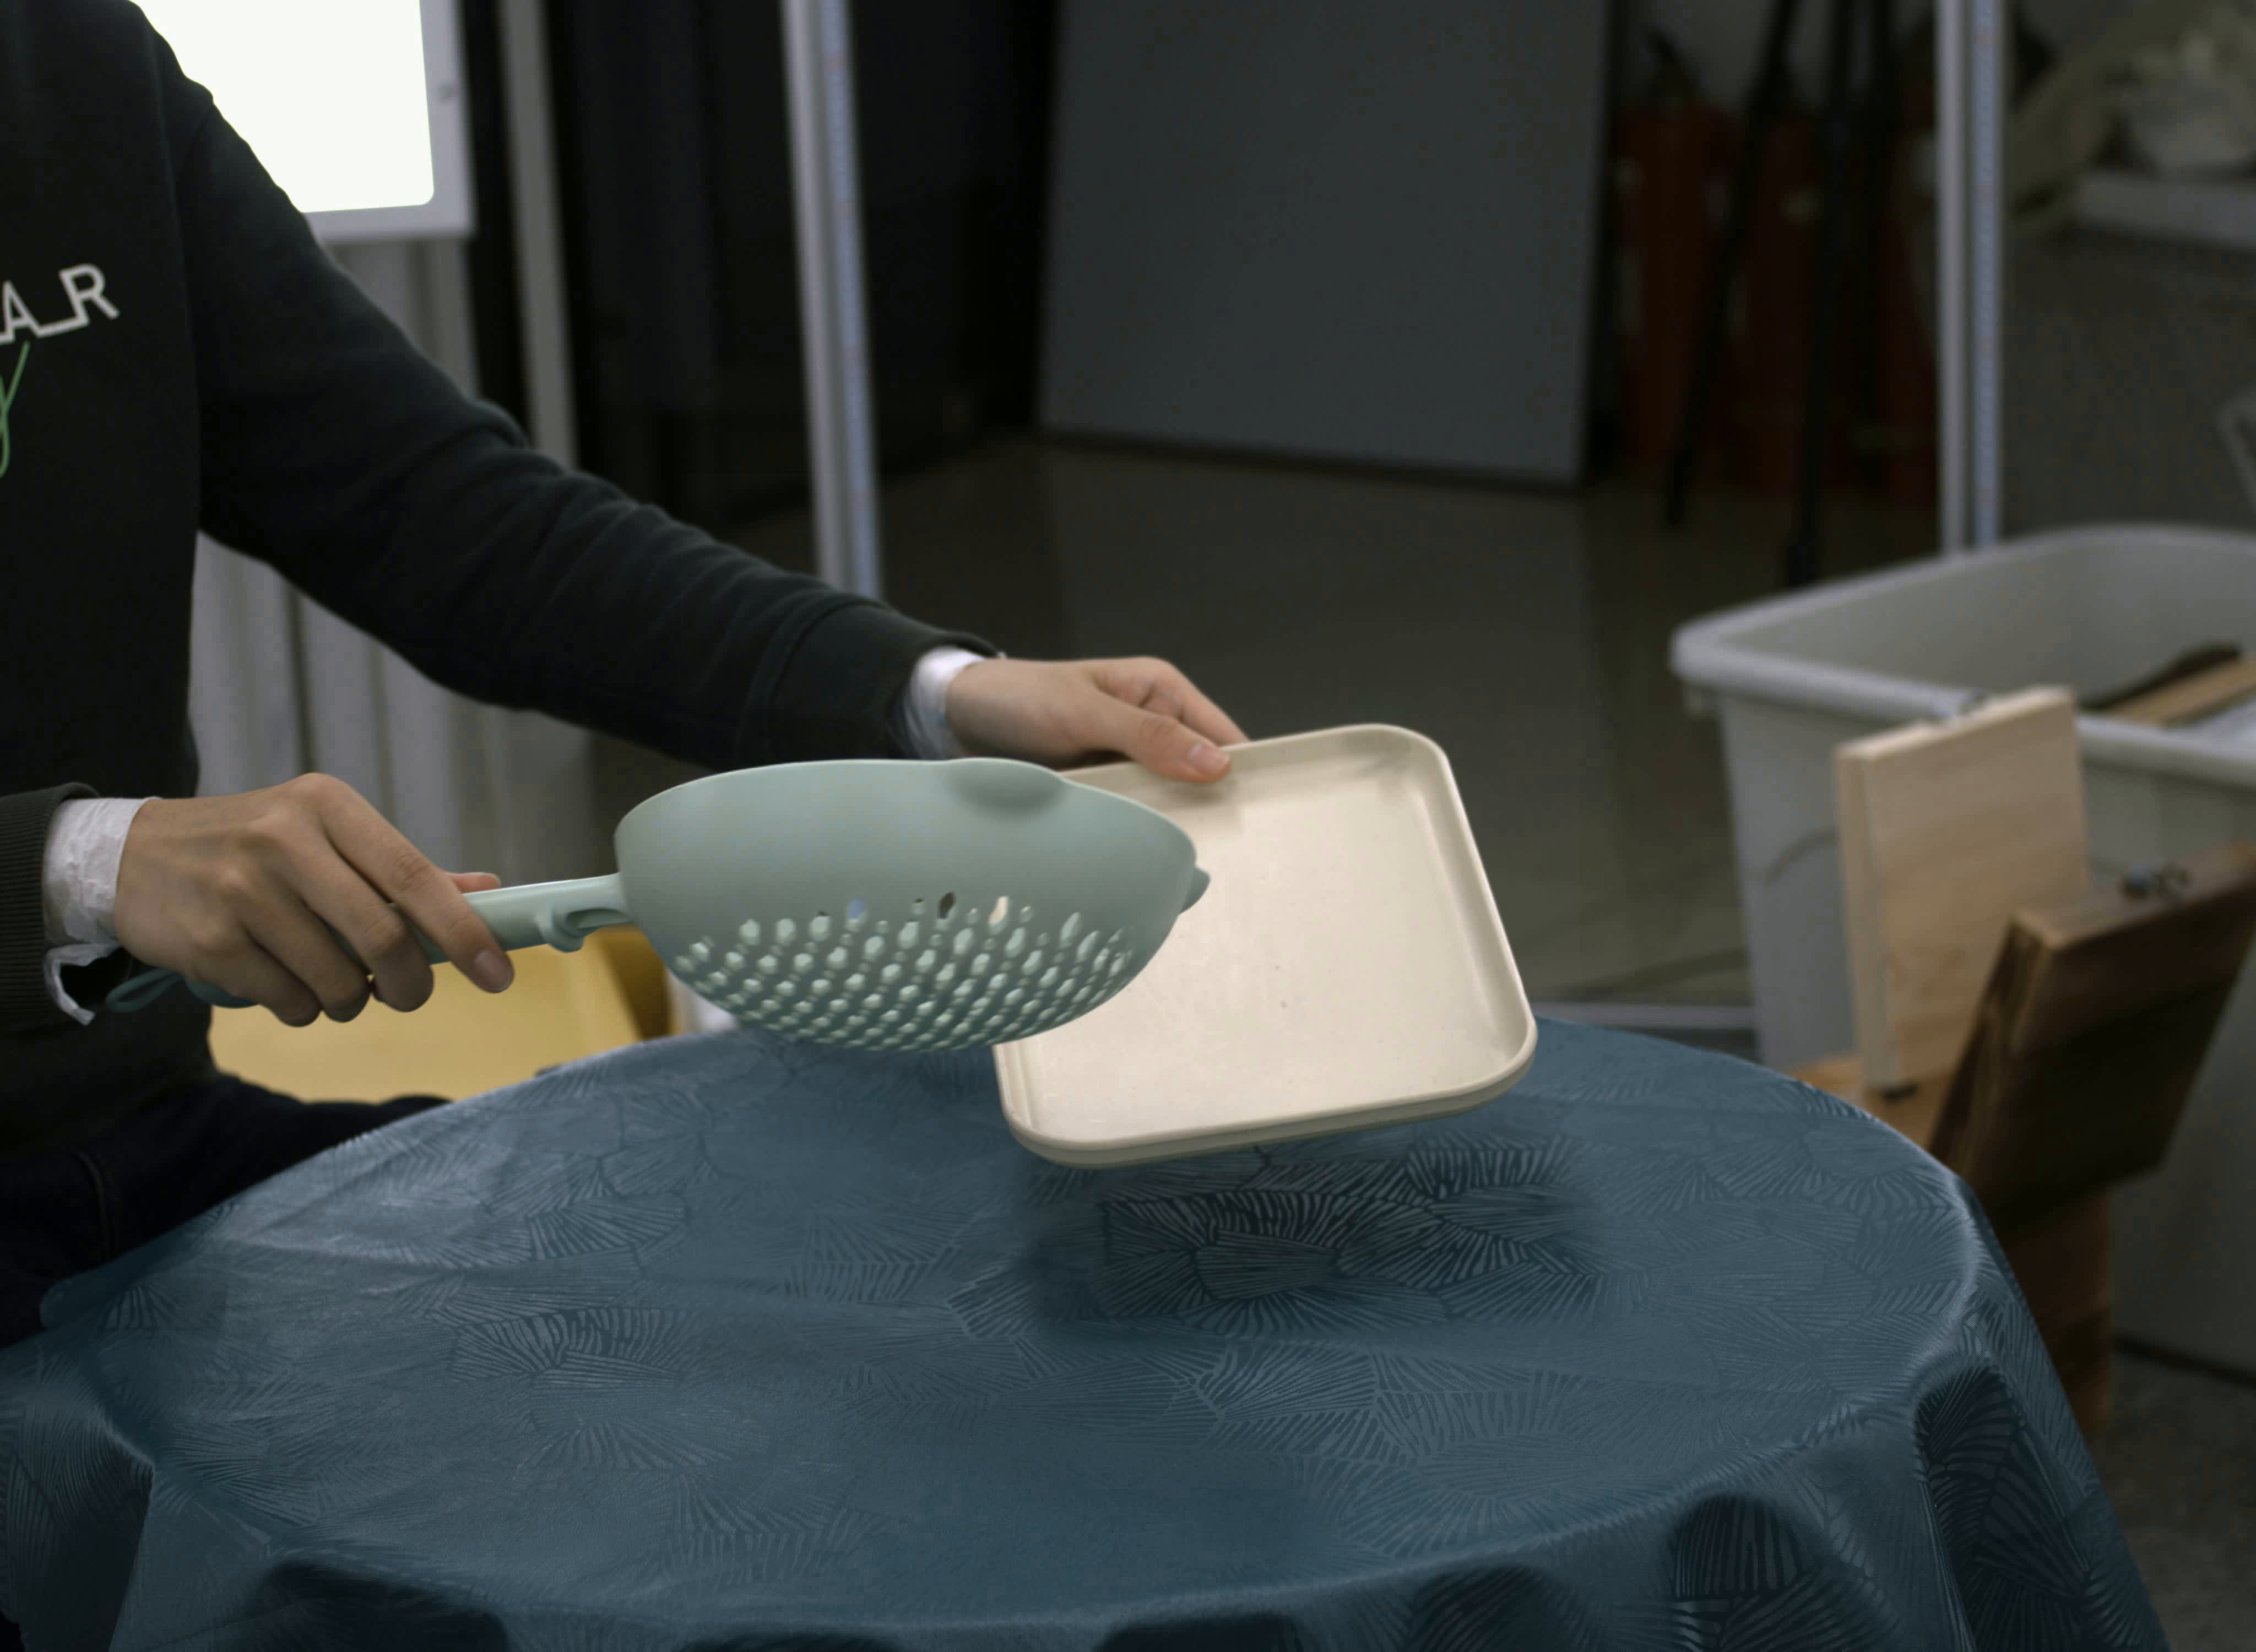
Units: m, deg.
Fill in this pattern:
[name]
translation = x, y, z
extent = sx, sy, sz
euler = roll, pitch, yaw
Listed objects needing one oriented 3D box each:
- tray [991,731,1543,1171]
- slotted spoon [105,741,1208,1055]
[tray]
translation = 0.036, 0.039, 1.747
extent = 0.169, 0.017, 0.241
euler = -10, 29, -2
[slotted spoon]
translation = -0.152, 0.029, 1.602
extent = 0.360, 0.076, 0.167
euler = 1, -18, 28
